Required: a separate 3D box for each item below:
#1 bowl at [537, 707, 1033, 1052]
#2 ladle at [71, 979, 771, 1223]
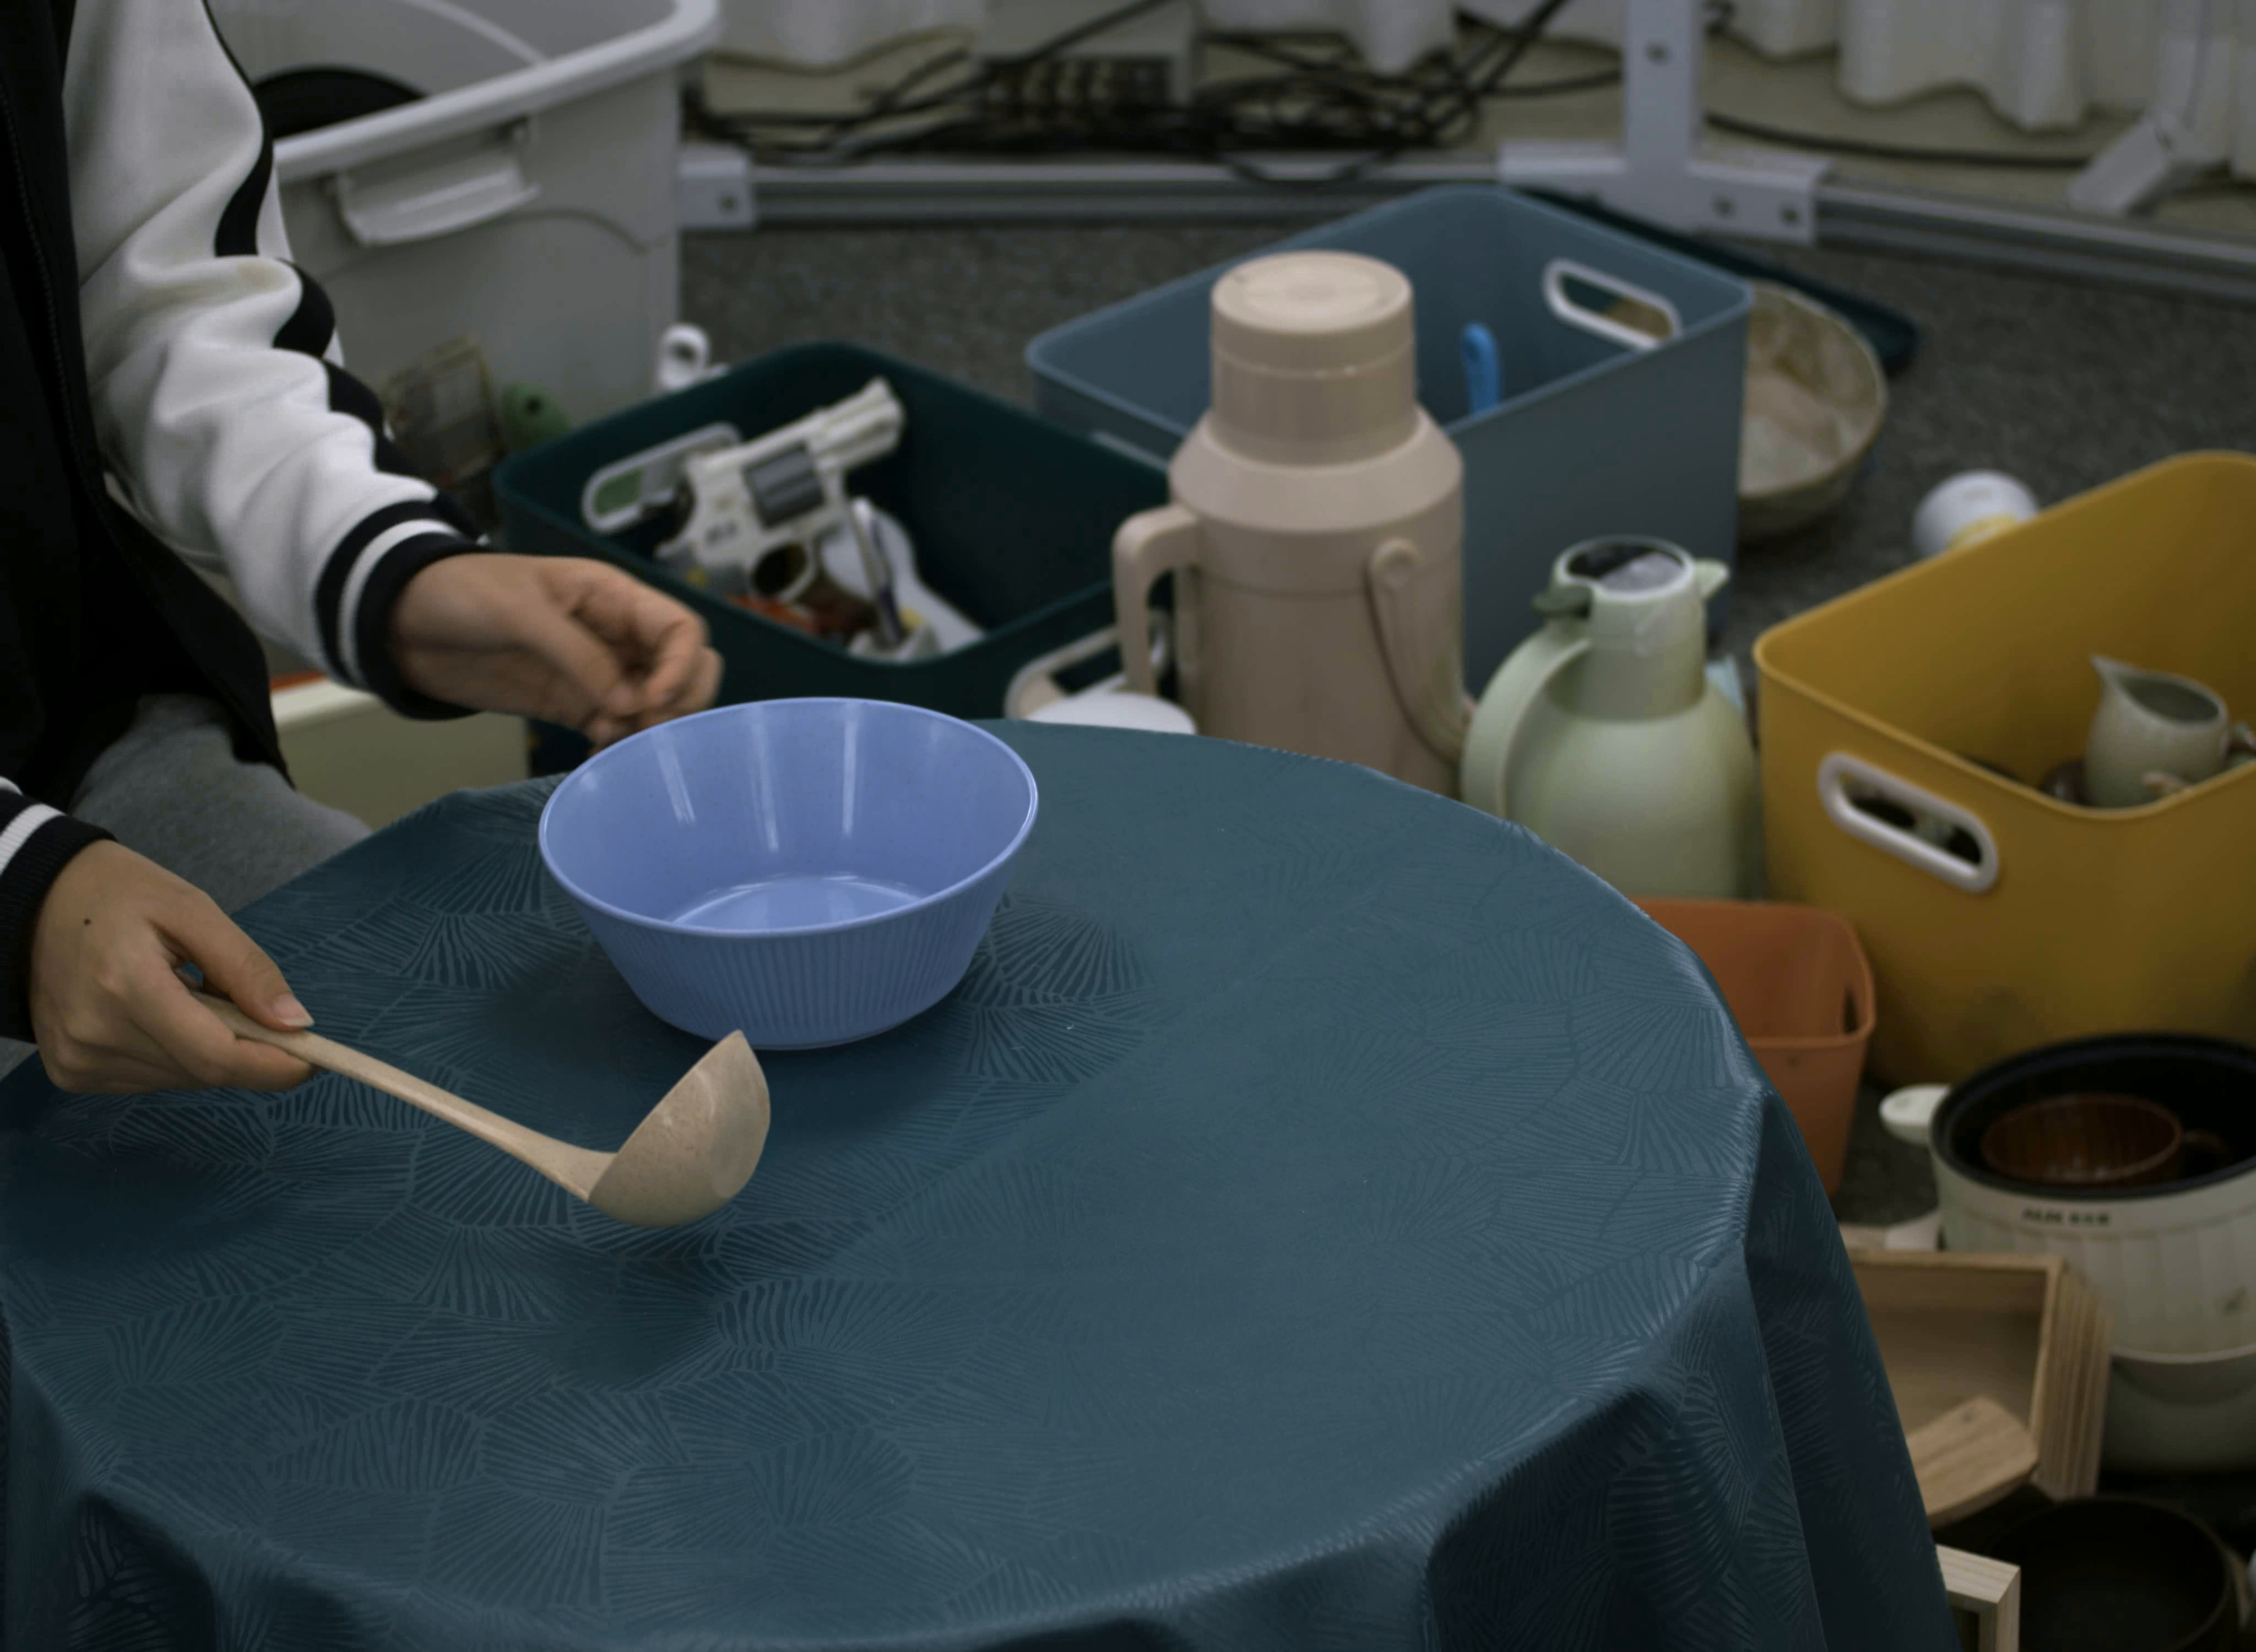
[{"bbox_3d":[-0.119,0.024,1.986,0.175,0.069,0.178,-2,26,1],"label":"bowl"},{"bbox_3d":[-0.237,0.064,1.842,0.253,0.072,0.073,18,30,18],"label":"ladle"}]
